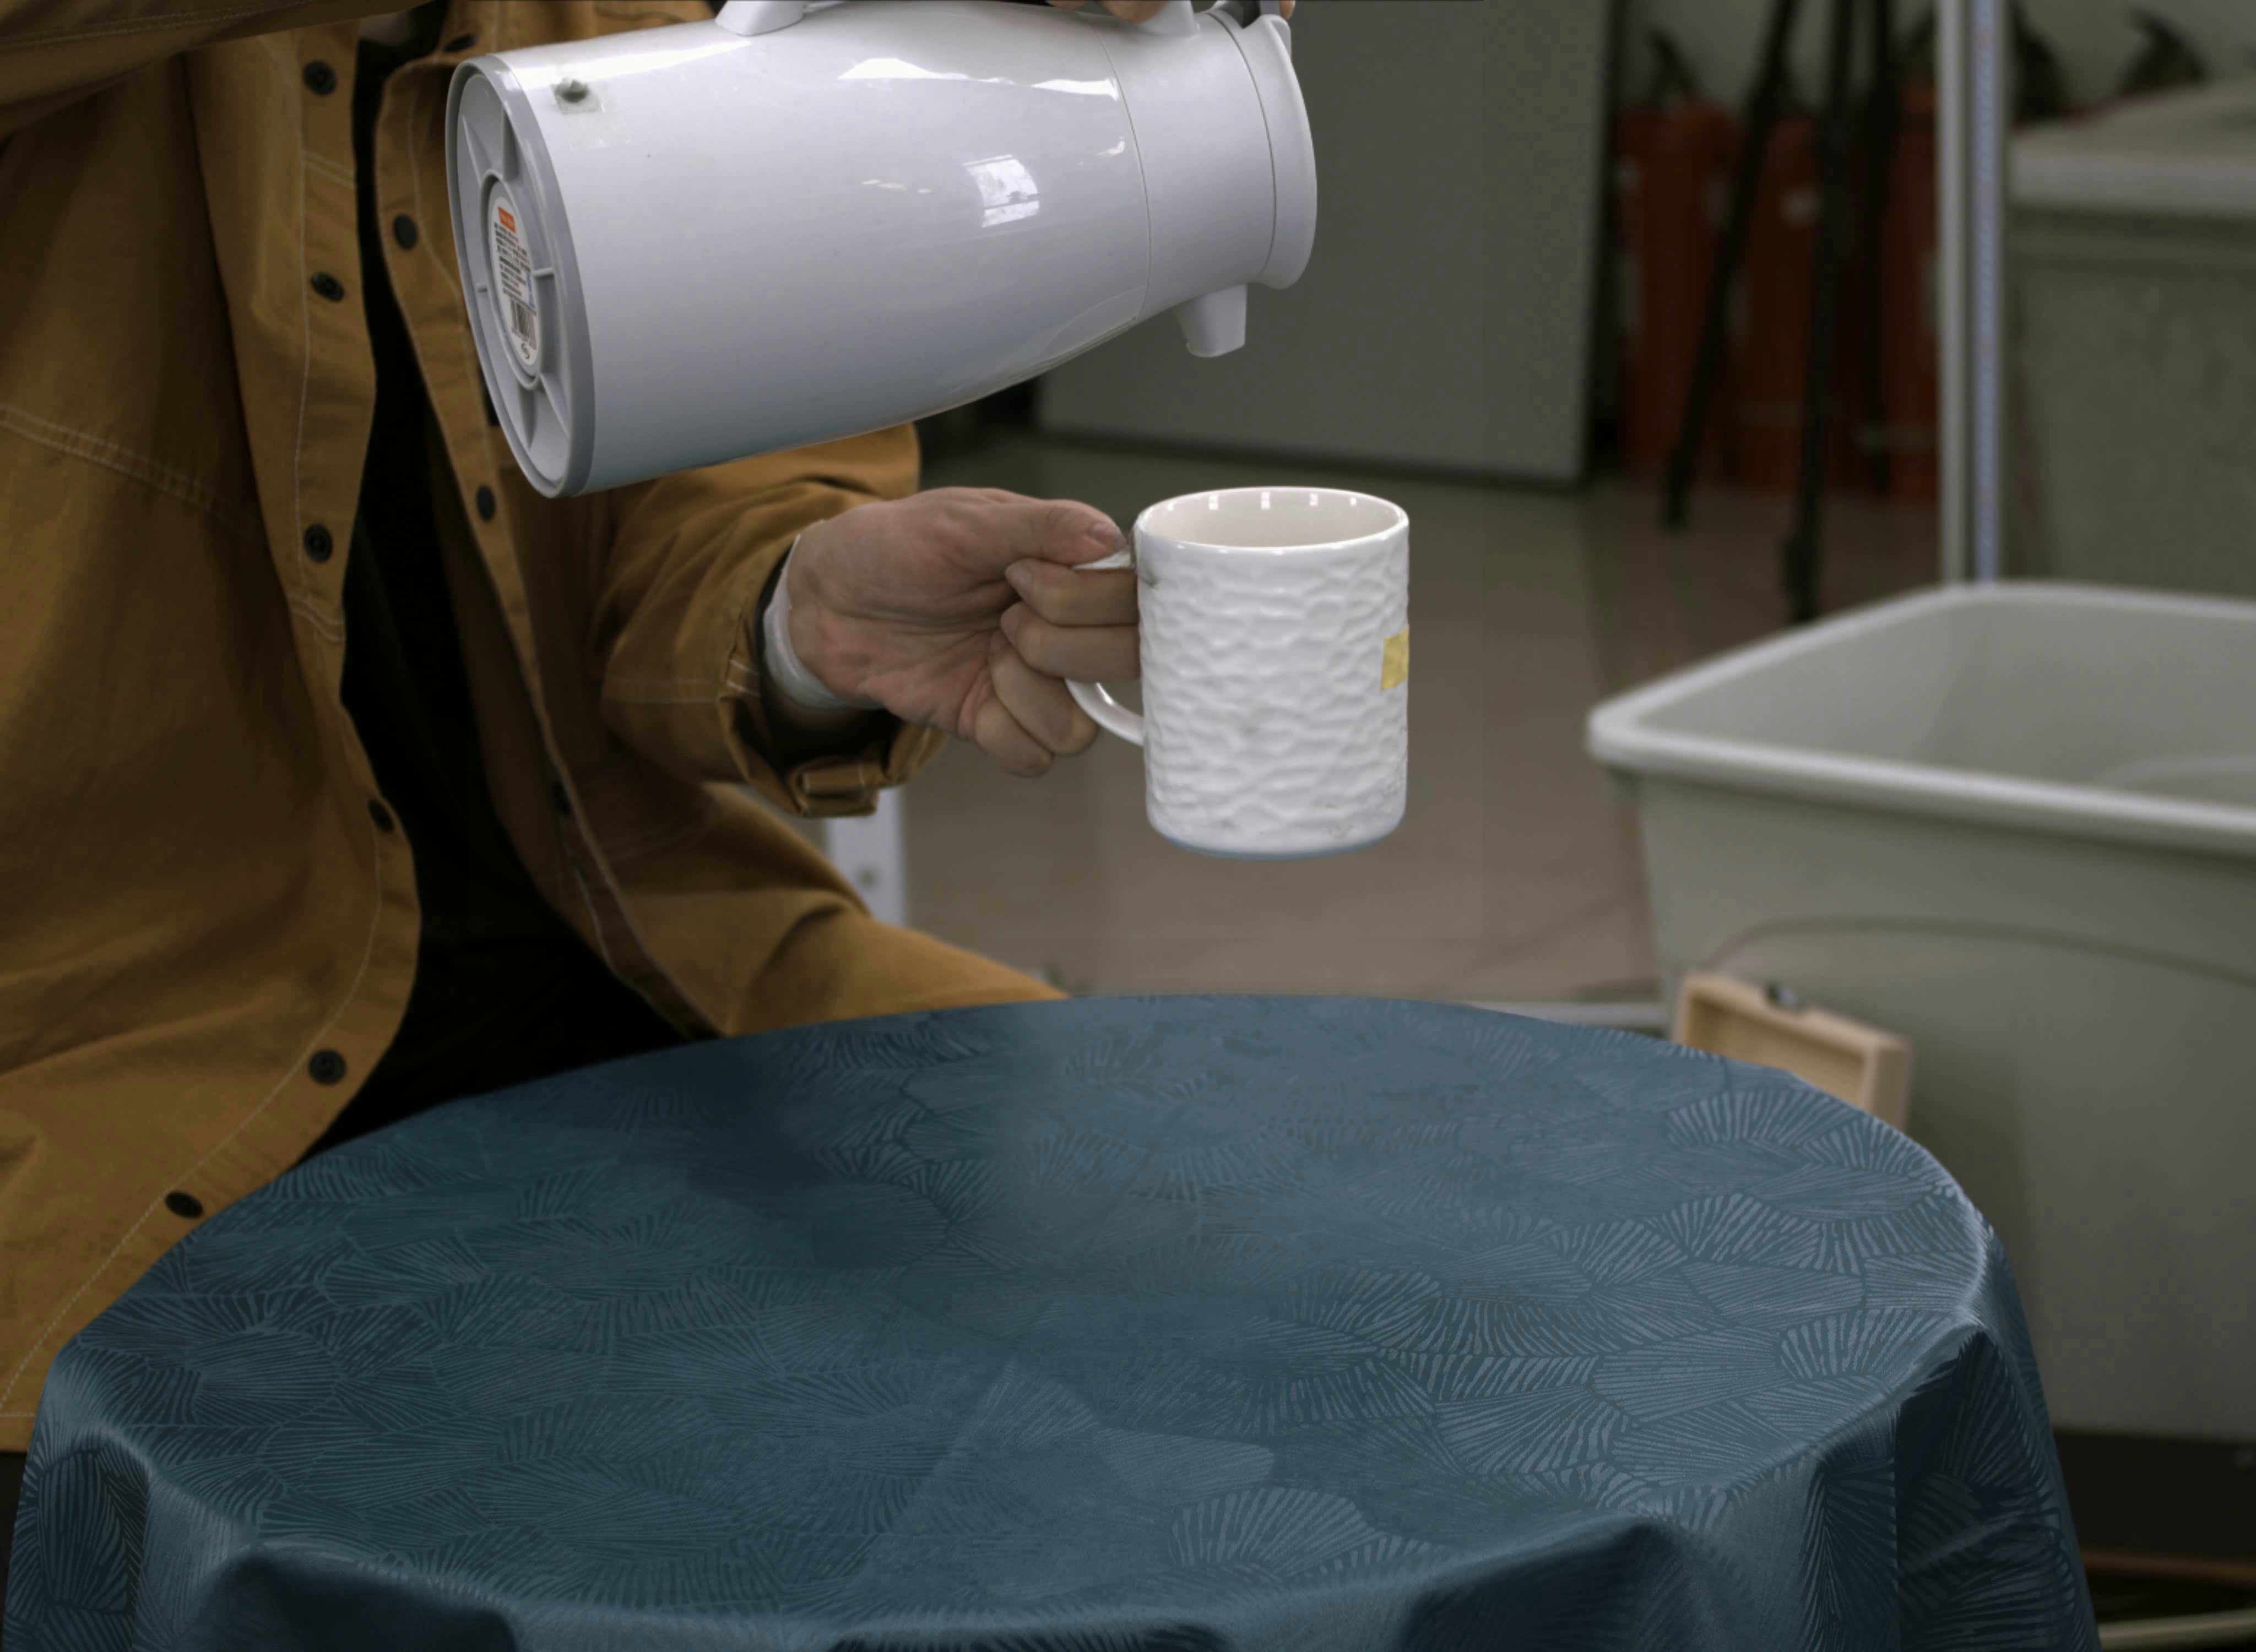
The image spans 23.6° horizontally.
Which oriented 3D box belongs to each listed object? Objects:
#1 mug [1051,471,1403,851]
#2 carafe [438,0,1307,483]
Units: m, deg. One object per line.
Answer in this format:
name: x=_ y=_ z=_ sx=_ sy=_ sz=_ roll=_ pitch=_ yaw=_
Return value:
mug: x=0.030 y=-0.053 z=1.698 sx=0.118 sy=0.103 sz=0.084 roll=6 pitch=17 yaw=26
carafe: x=-0.071 y=-0.207 z=1.608 sx=0.244 sy=0.169 sz=0.134 roll=-13 pitch=25 yaw=-15
